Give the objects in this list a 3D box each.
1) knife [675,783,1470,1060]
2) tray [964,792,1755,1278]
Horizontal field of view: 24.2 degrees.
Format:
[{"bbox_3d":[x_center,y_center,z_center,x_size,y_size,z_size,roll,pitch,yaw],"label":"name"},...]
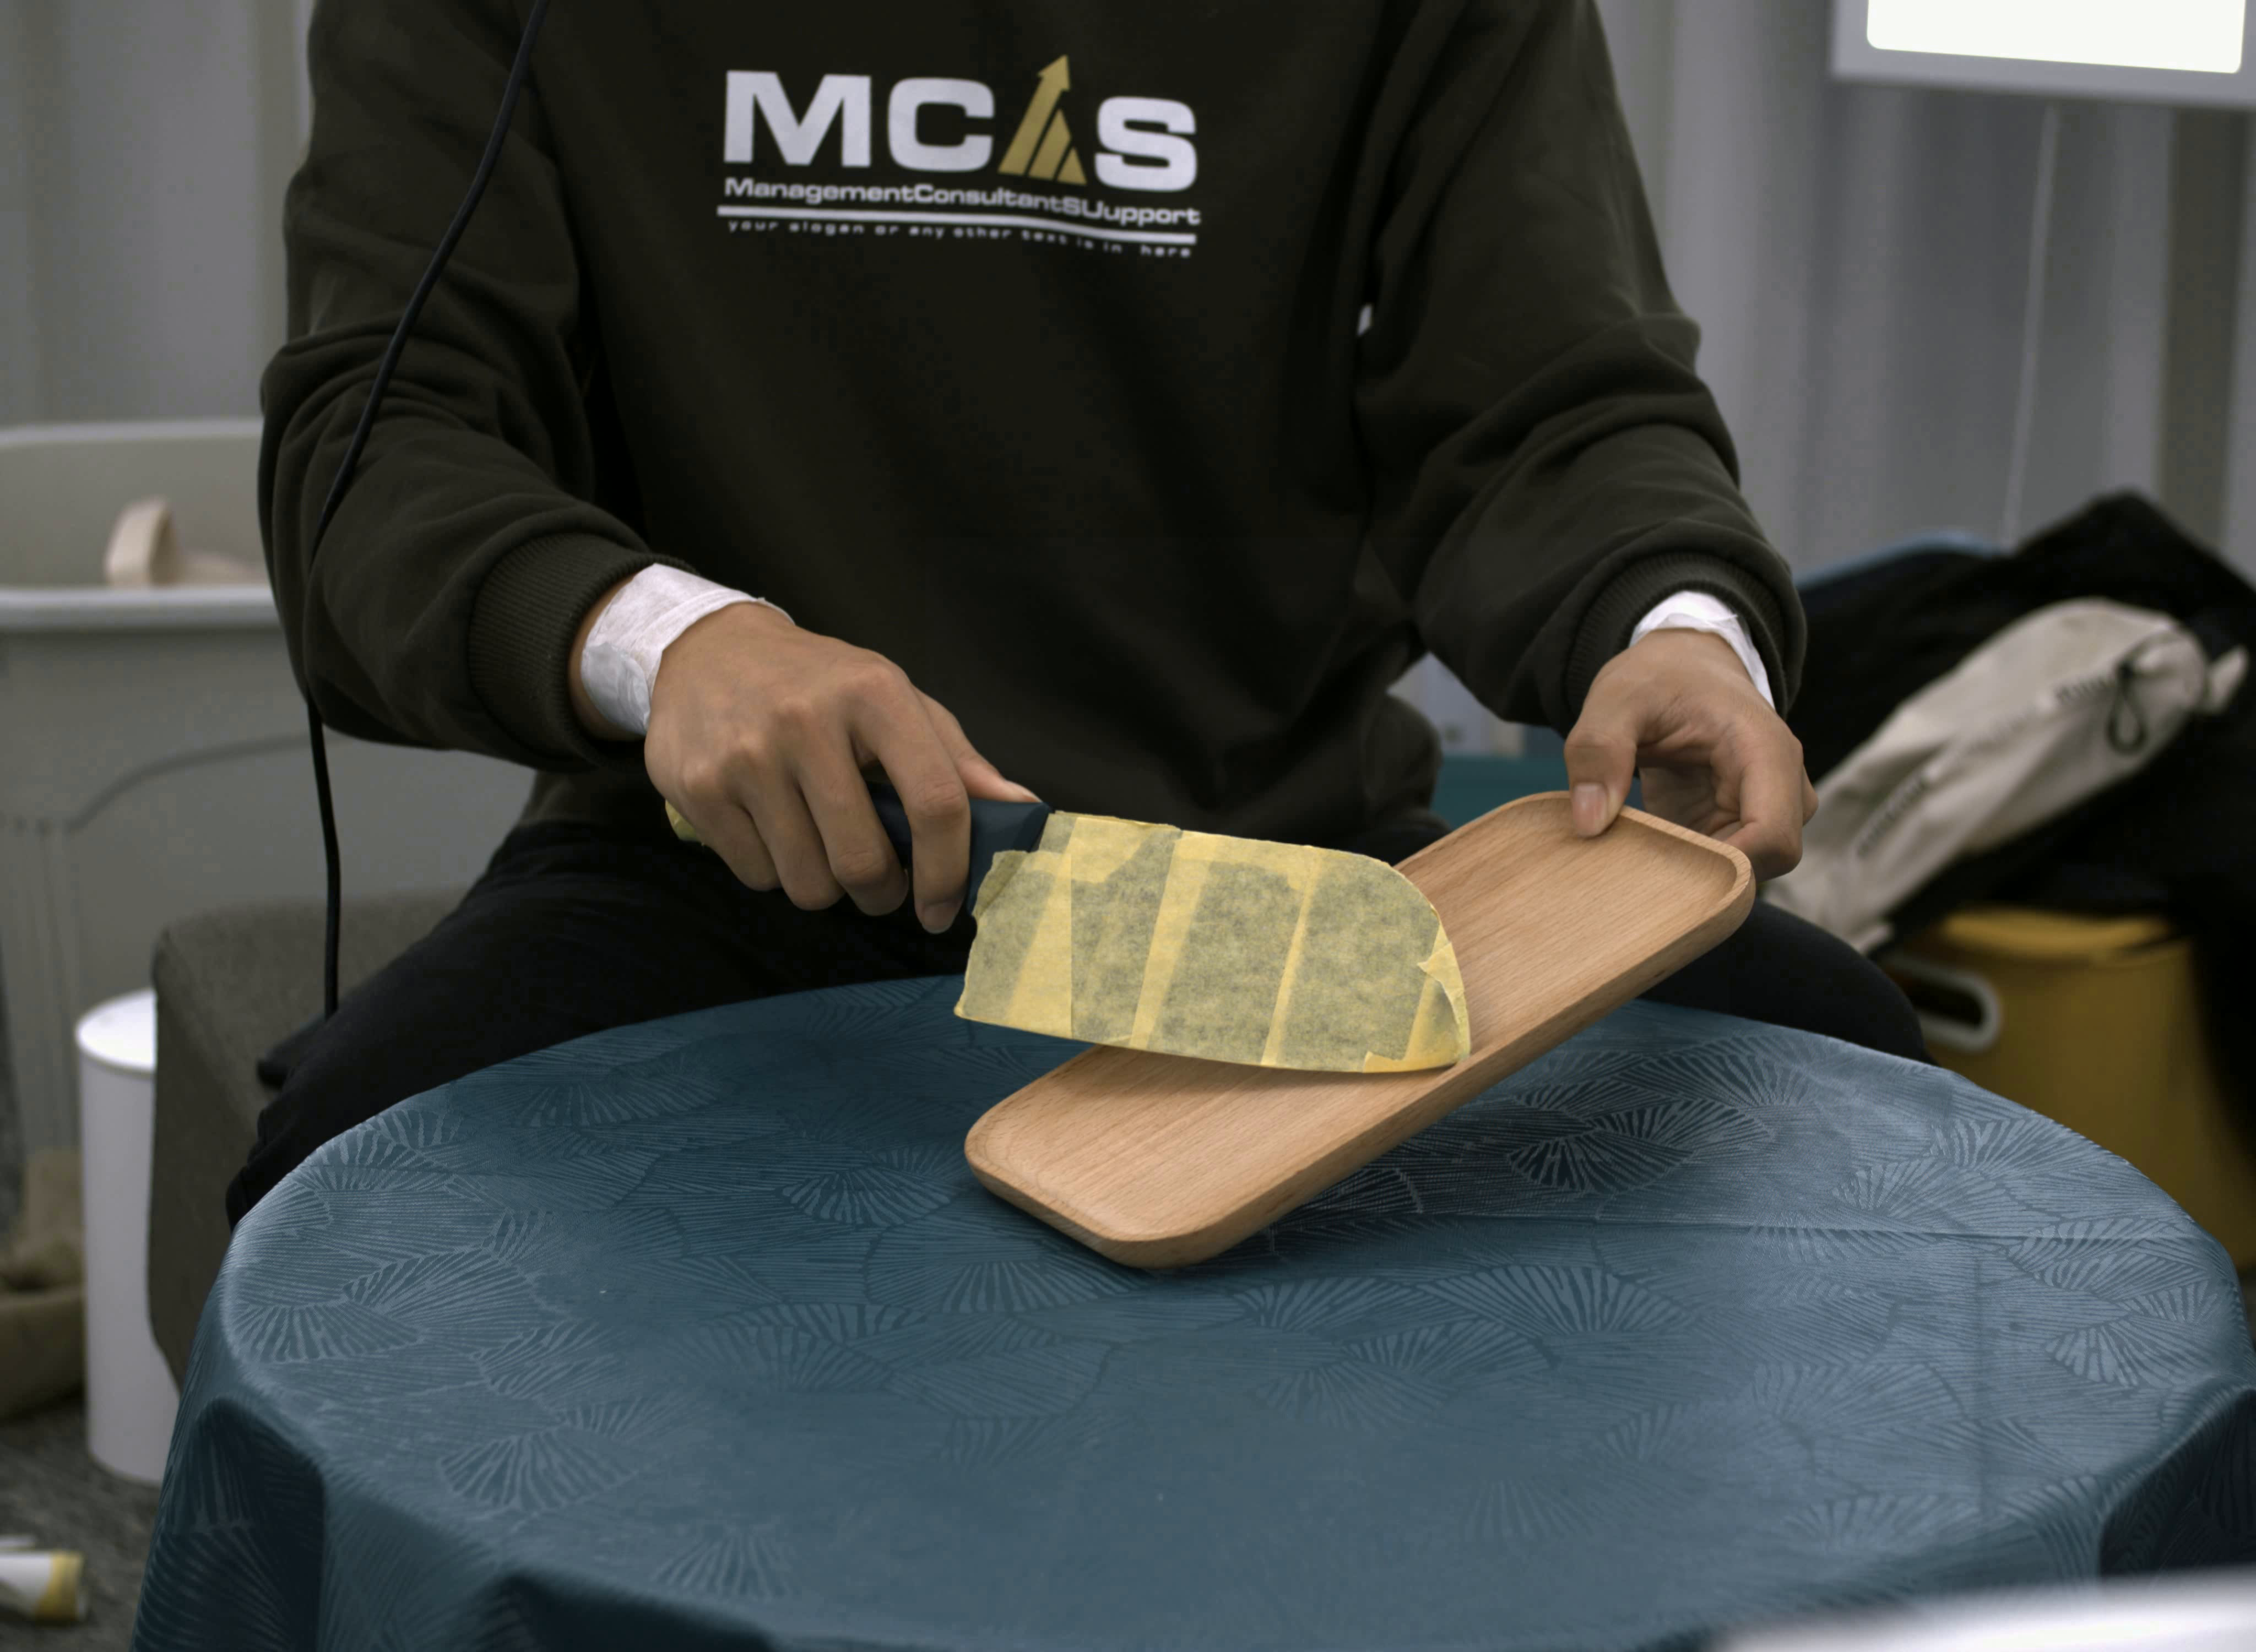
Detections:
[{"bbox_3d":[-0.022,0.029,1.656,0.286,0.081,0.027,10,-17,26],"label":"knife"},{"bbox_3d":[0.073,0.062,1.631,0.251,0.023,0.129,-31,26,-23],"label":"tray"}]
